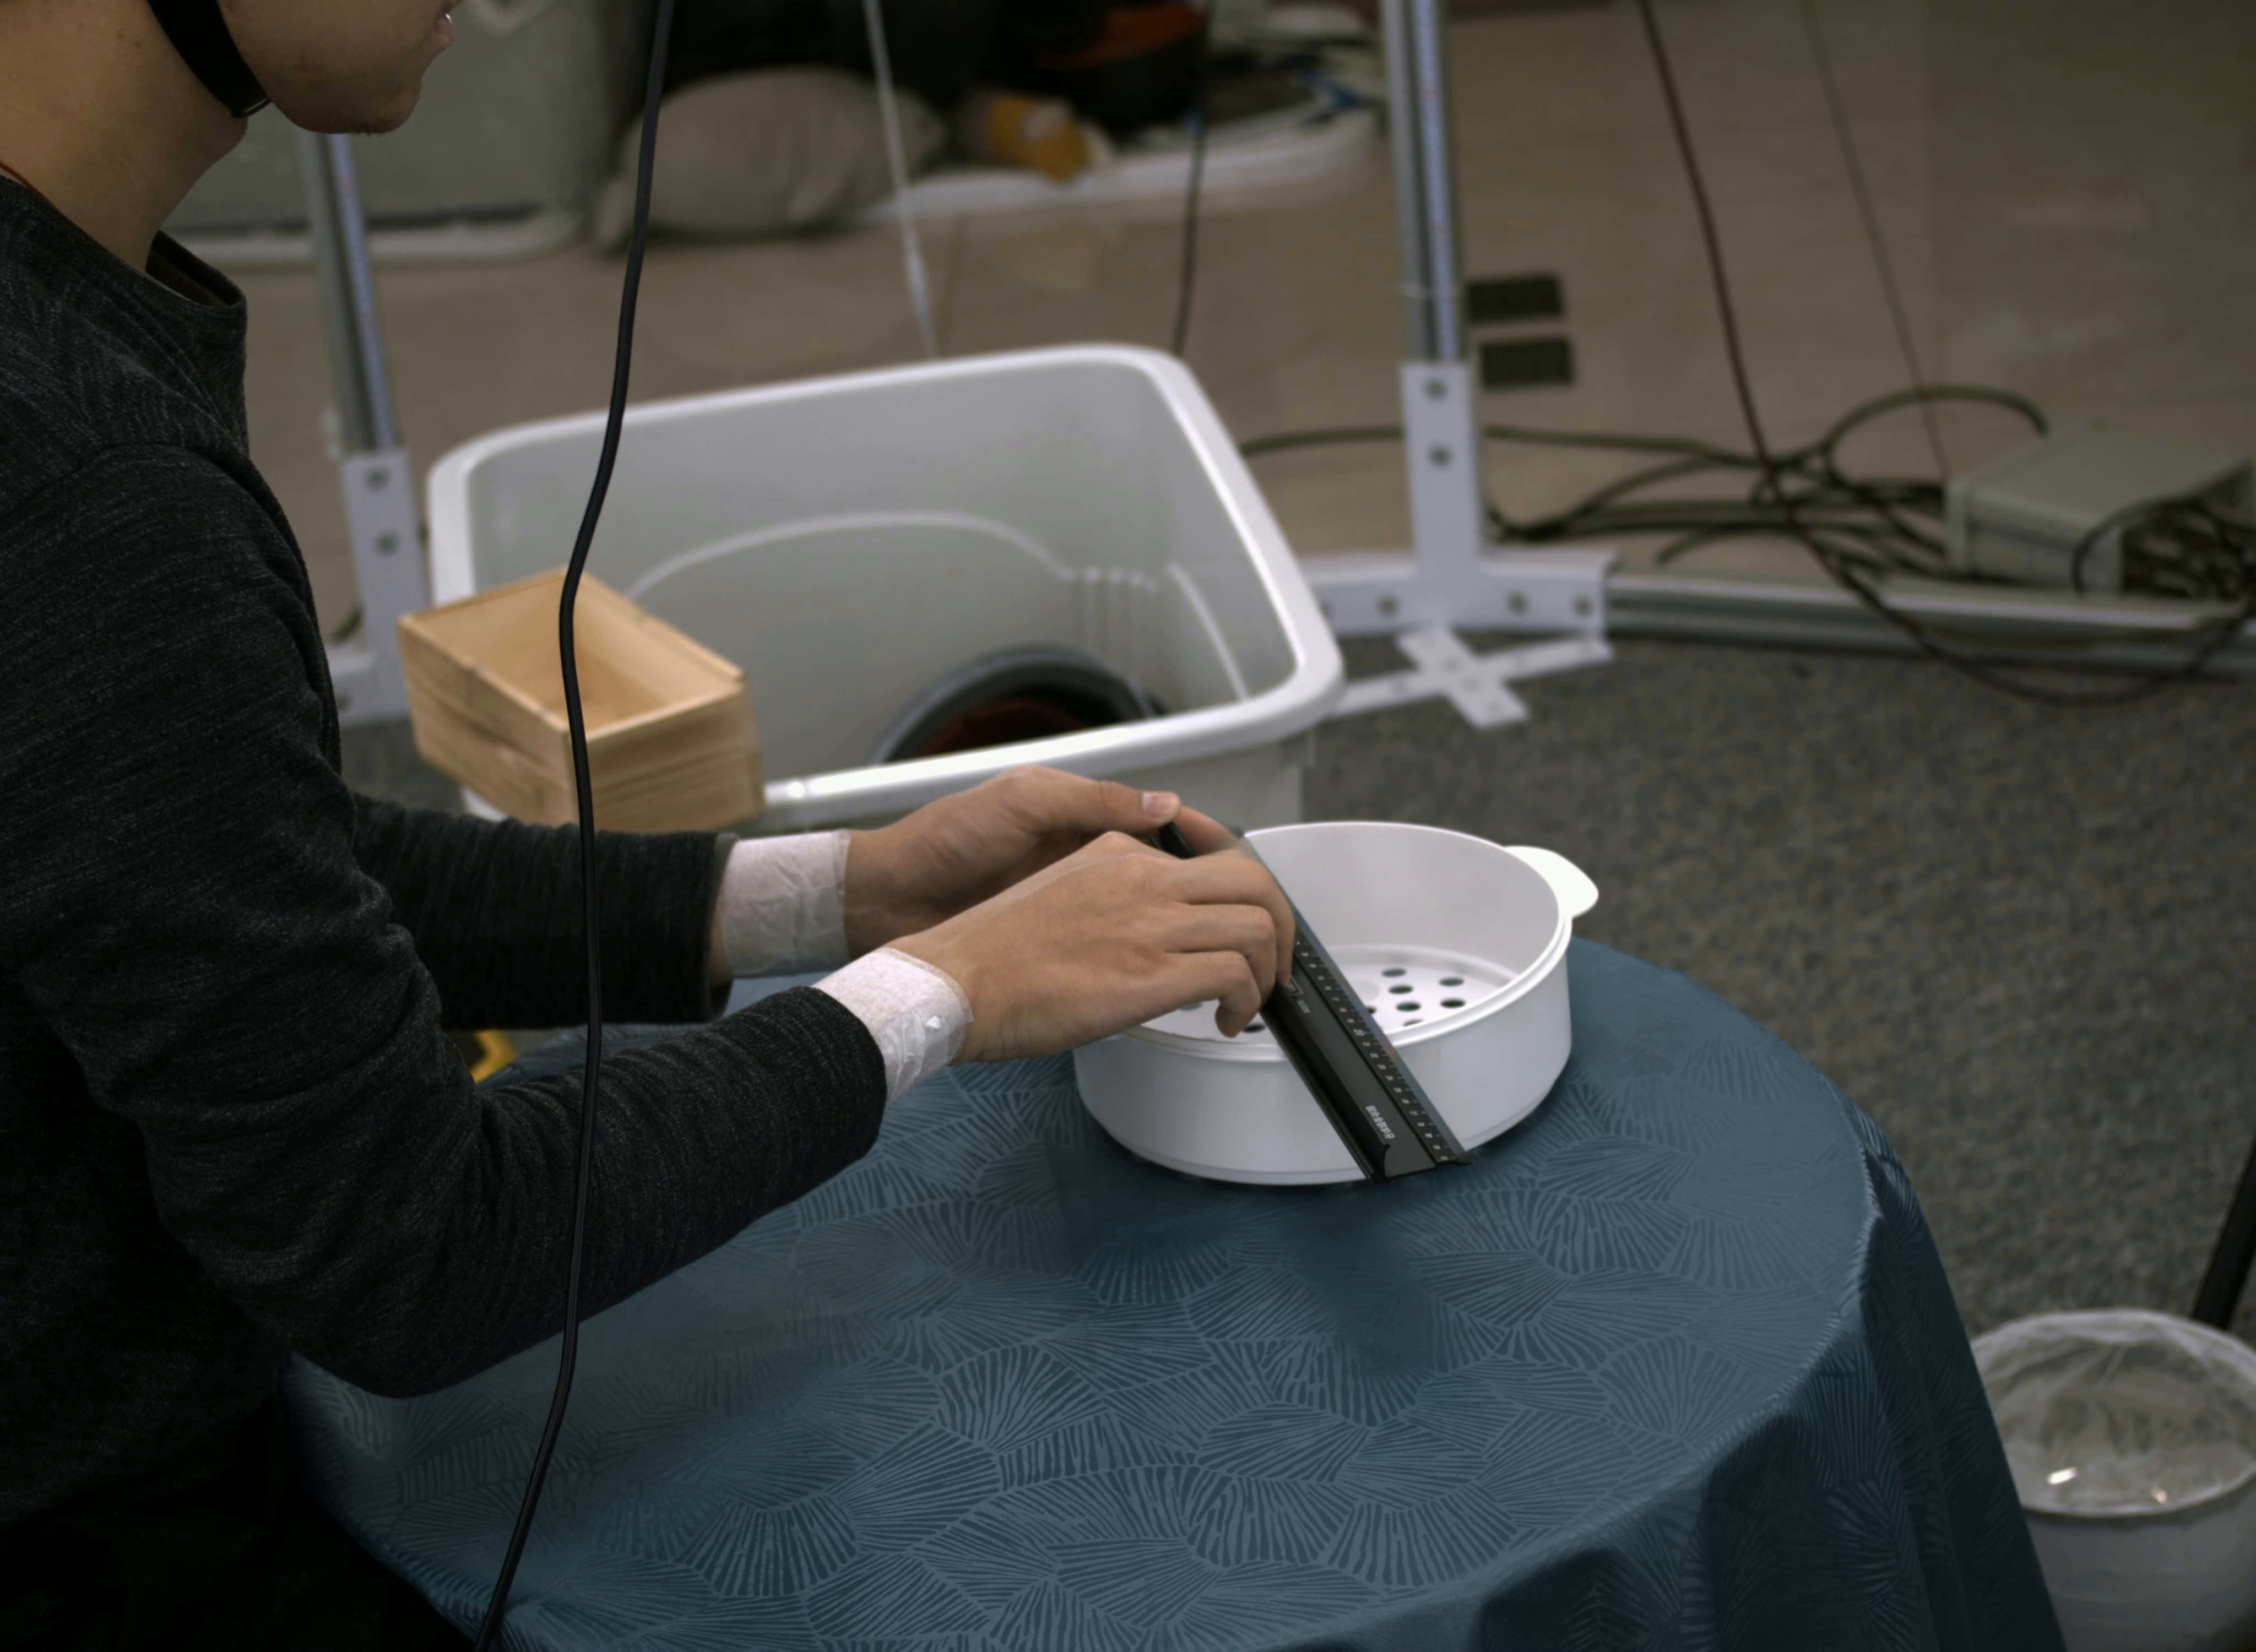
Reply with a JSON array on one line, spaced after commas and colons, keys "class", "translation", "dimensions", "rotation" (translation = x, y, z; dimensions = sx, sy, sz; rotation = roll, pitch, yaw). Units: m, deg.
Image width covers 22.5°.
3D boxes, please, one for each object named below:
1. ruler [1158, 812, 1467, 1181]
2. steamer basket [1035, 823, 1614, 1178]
[{"class": "ruler", "translation": [0.066, 0.057, 2.129], "dimensions": [0.039, 0.017, 0.308], "rotation": [-8, 24, -12]}, {"class": "steamer basket", "translation": [0.079, 0.068, 2.199], "dimensions": [0.230, 0.070, 0.199], "rotation": [-12, 25, -17]}]
